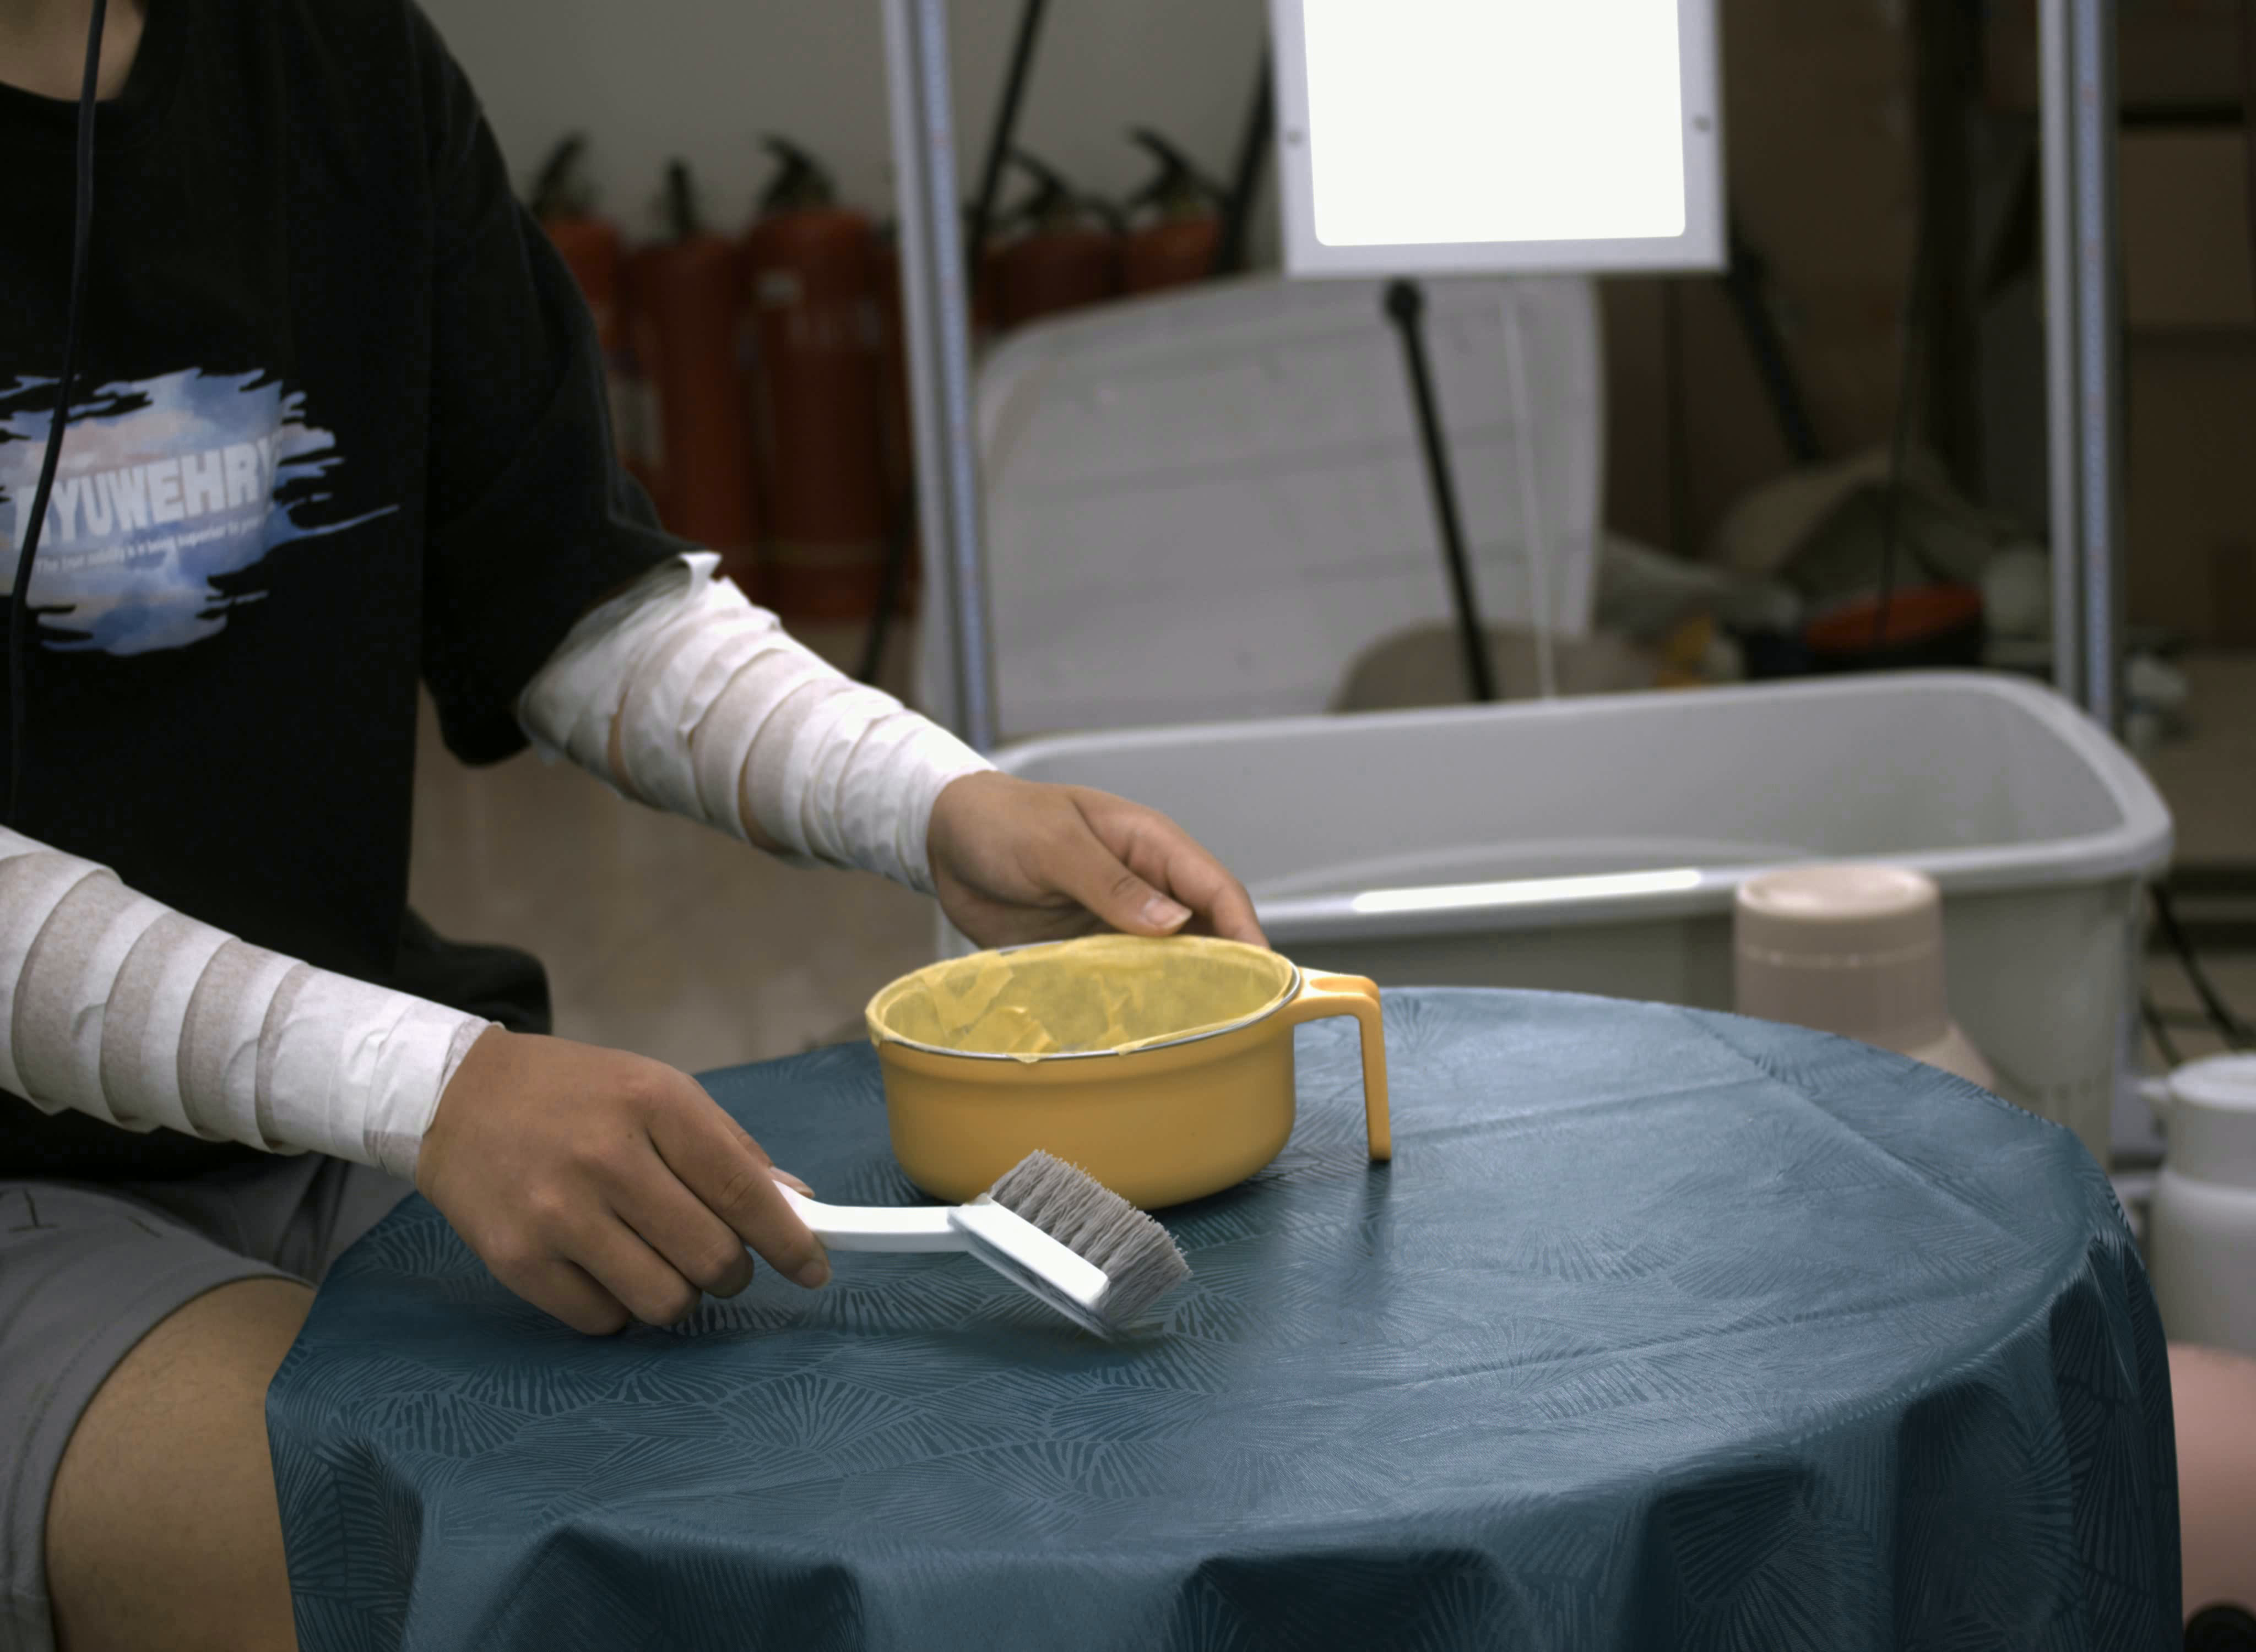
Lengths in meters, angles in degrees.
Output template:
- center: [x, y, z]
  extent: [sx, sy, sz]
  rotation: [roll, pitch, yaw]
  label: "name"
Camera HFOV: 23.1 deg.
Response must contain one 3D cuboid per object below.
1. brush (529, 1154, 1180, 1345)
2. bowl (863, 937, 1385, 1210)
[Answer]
- center: [-0.091, 0.121, 1.799]
  extent: [0.248, 0.034, 0.050]
  rotation: [10, 62, 34]
  label: "brush"
- center: [0.000, 0.087, 1.912]
  extent: [0.179, 0.074, 0.152]
  rotation: [-4, 9, 2]
  label: "bowl"
